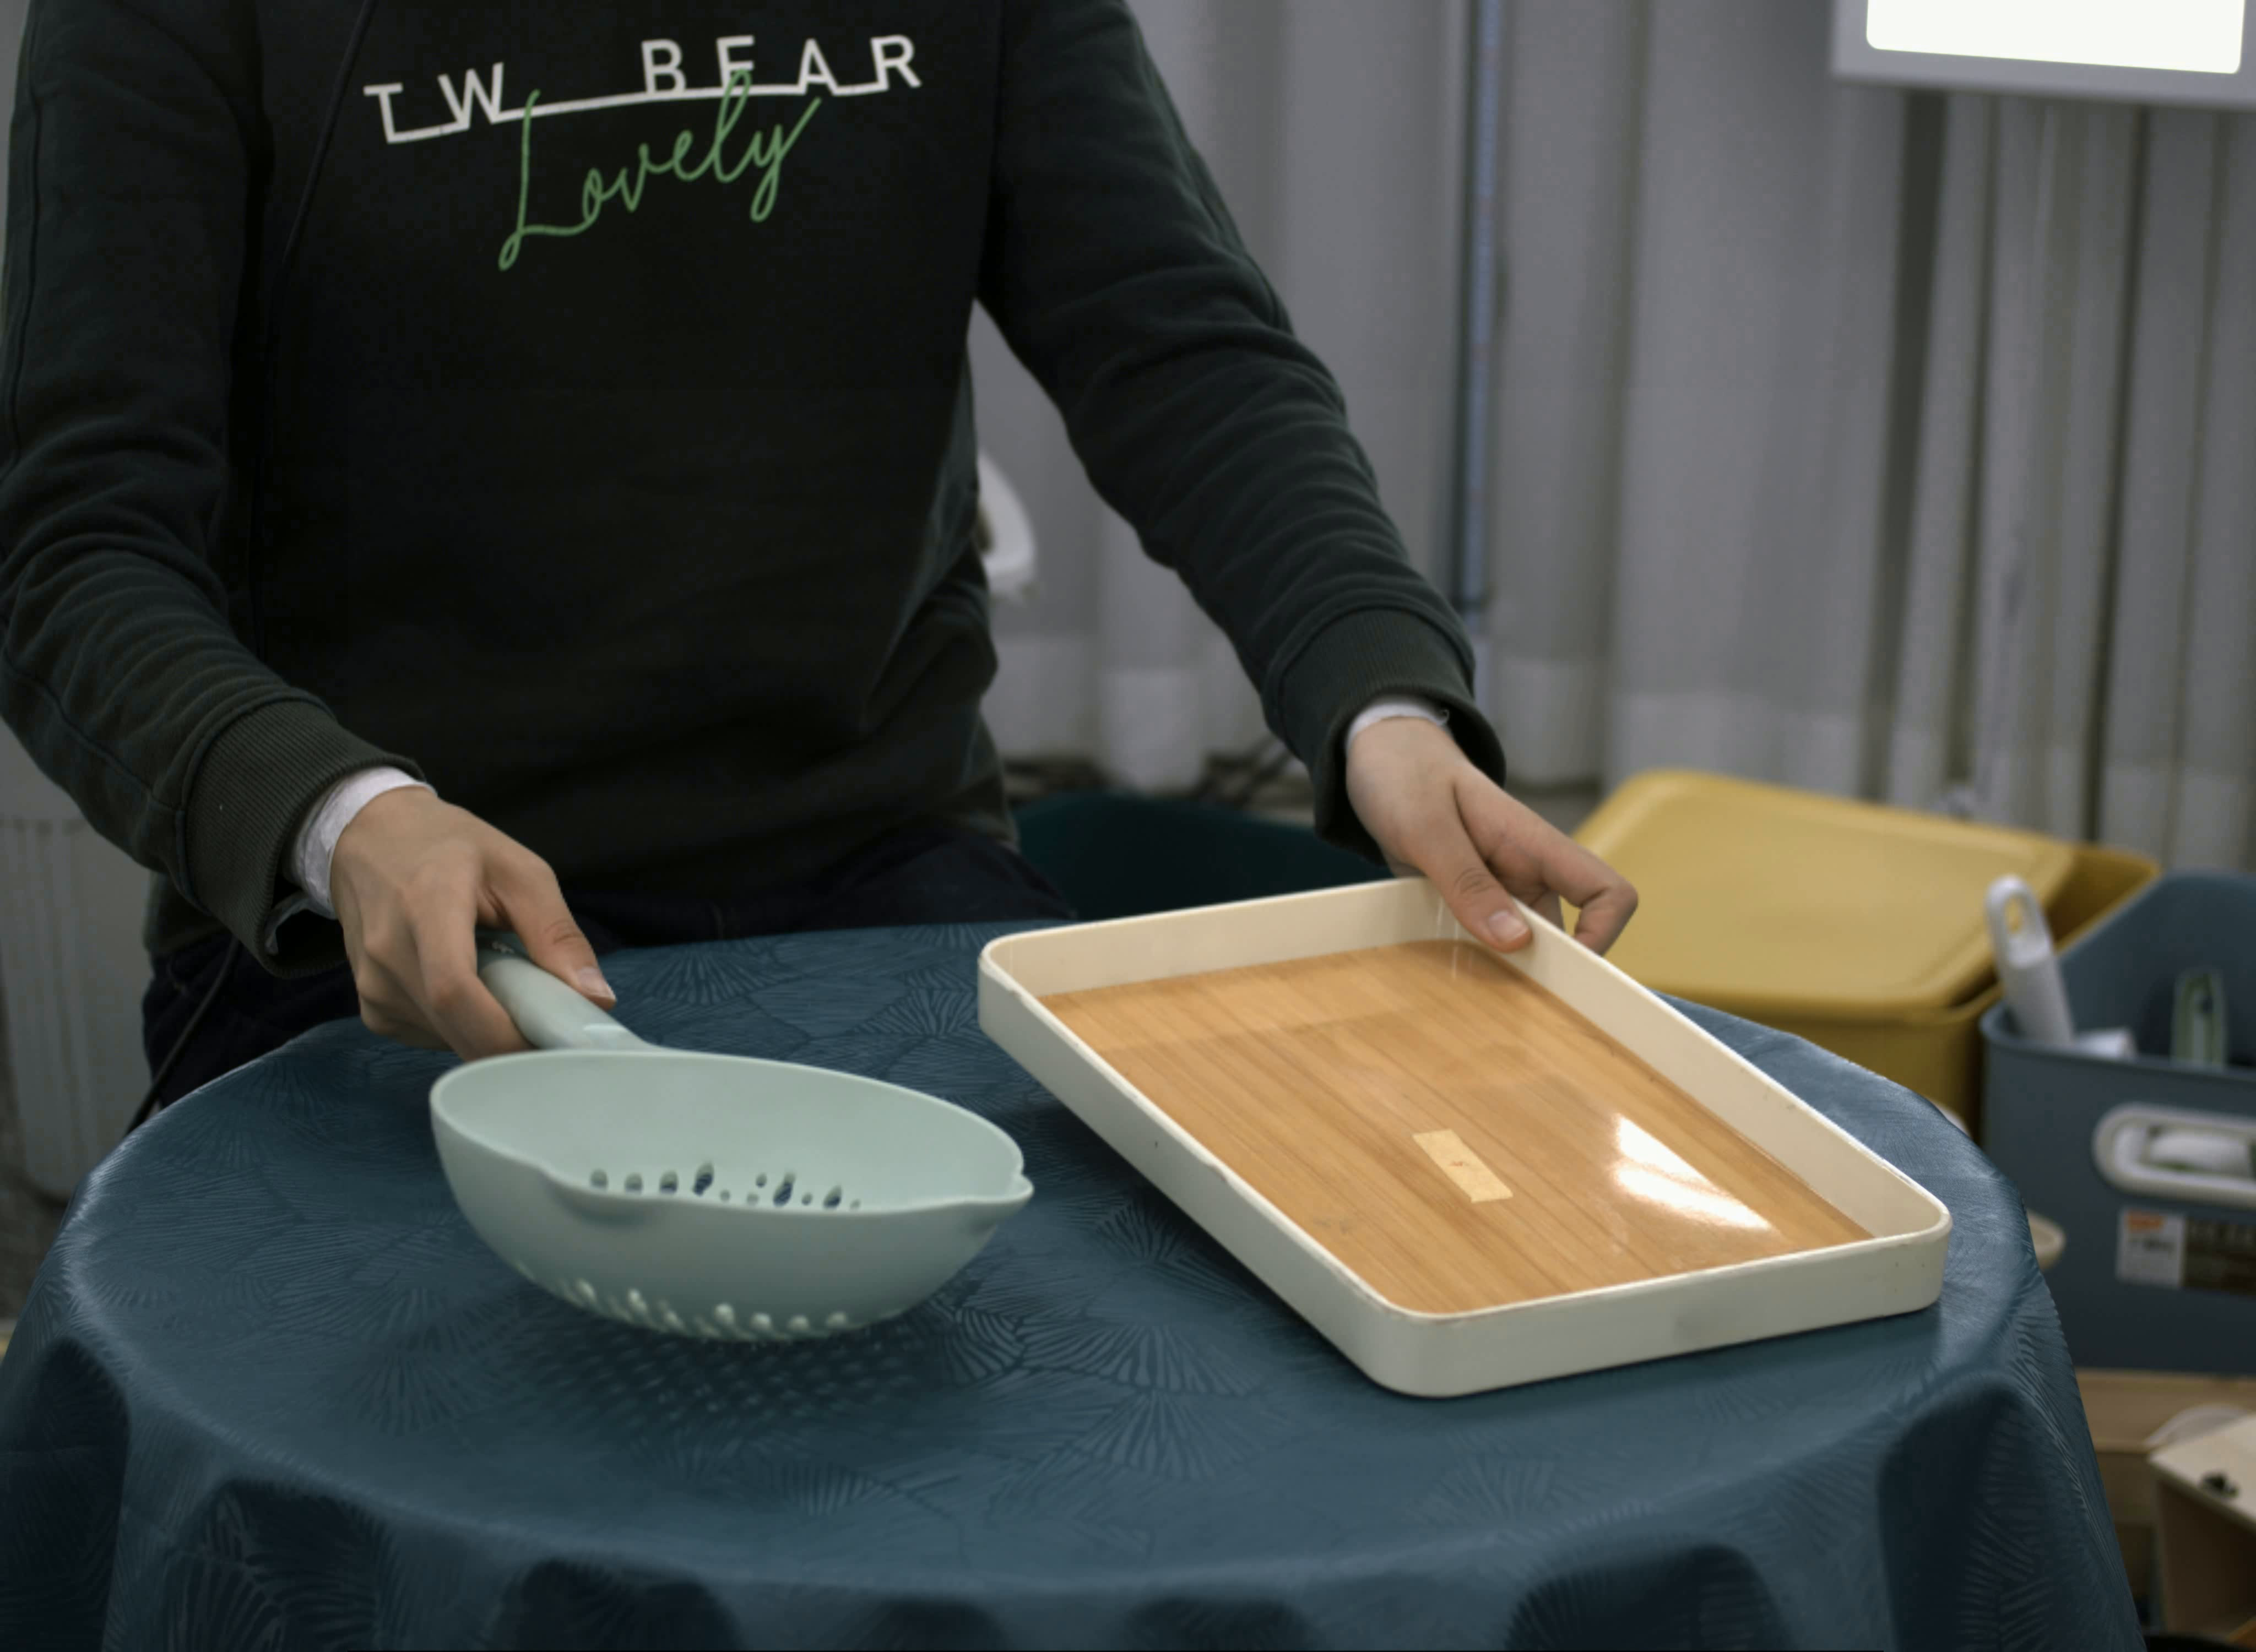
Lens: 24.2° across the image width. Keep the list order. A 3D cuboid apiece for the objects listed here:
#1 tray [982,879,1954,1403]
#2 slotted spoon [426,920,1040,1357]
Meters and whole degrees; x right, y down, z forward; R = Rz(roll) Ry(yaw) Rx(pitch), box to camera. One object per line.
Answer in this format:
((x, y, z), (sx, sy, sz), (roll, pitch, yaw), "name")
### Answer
((0.096, 0.090, 1.612), (0.192, 0.027, 0.296), (-7, 24, -25), "tray")
((-0.153, 0.077, 1.572), (0.170, 0.076, 0.354), (3, 20, -25), "slotted spoon")
